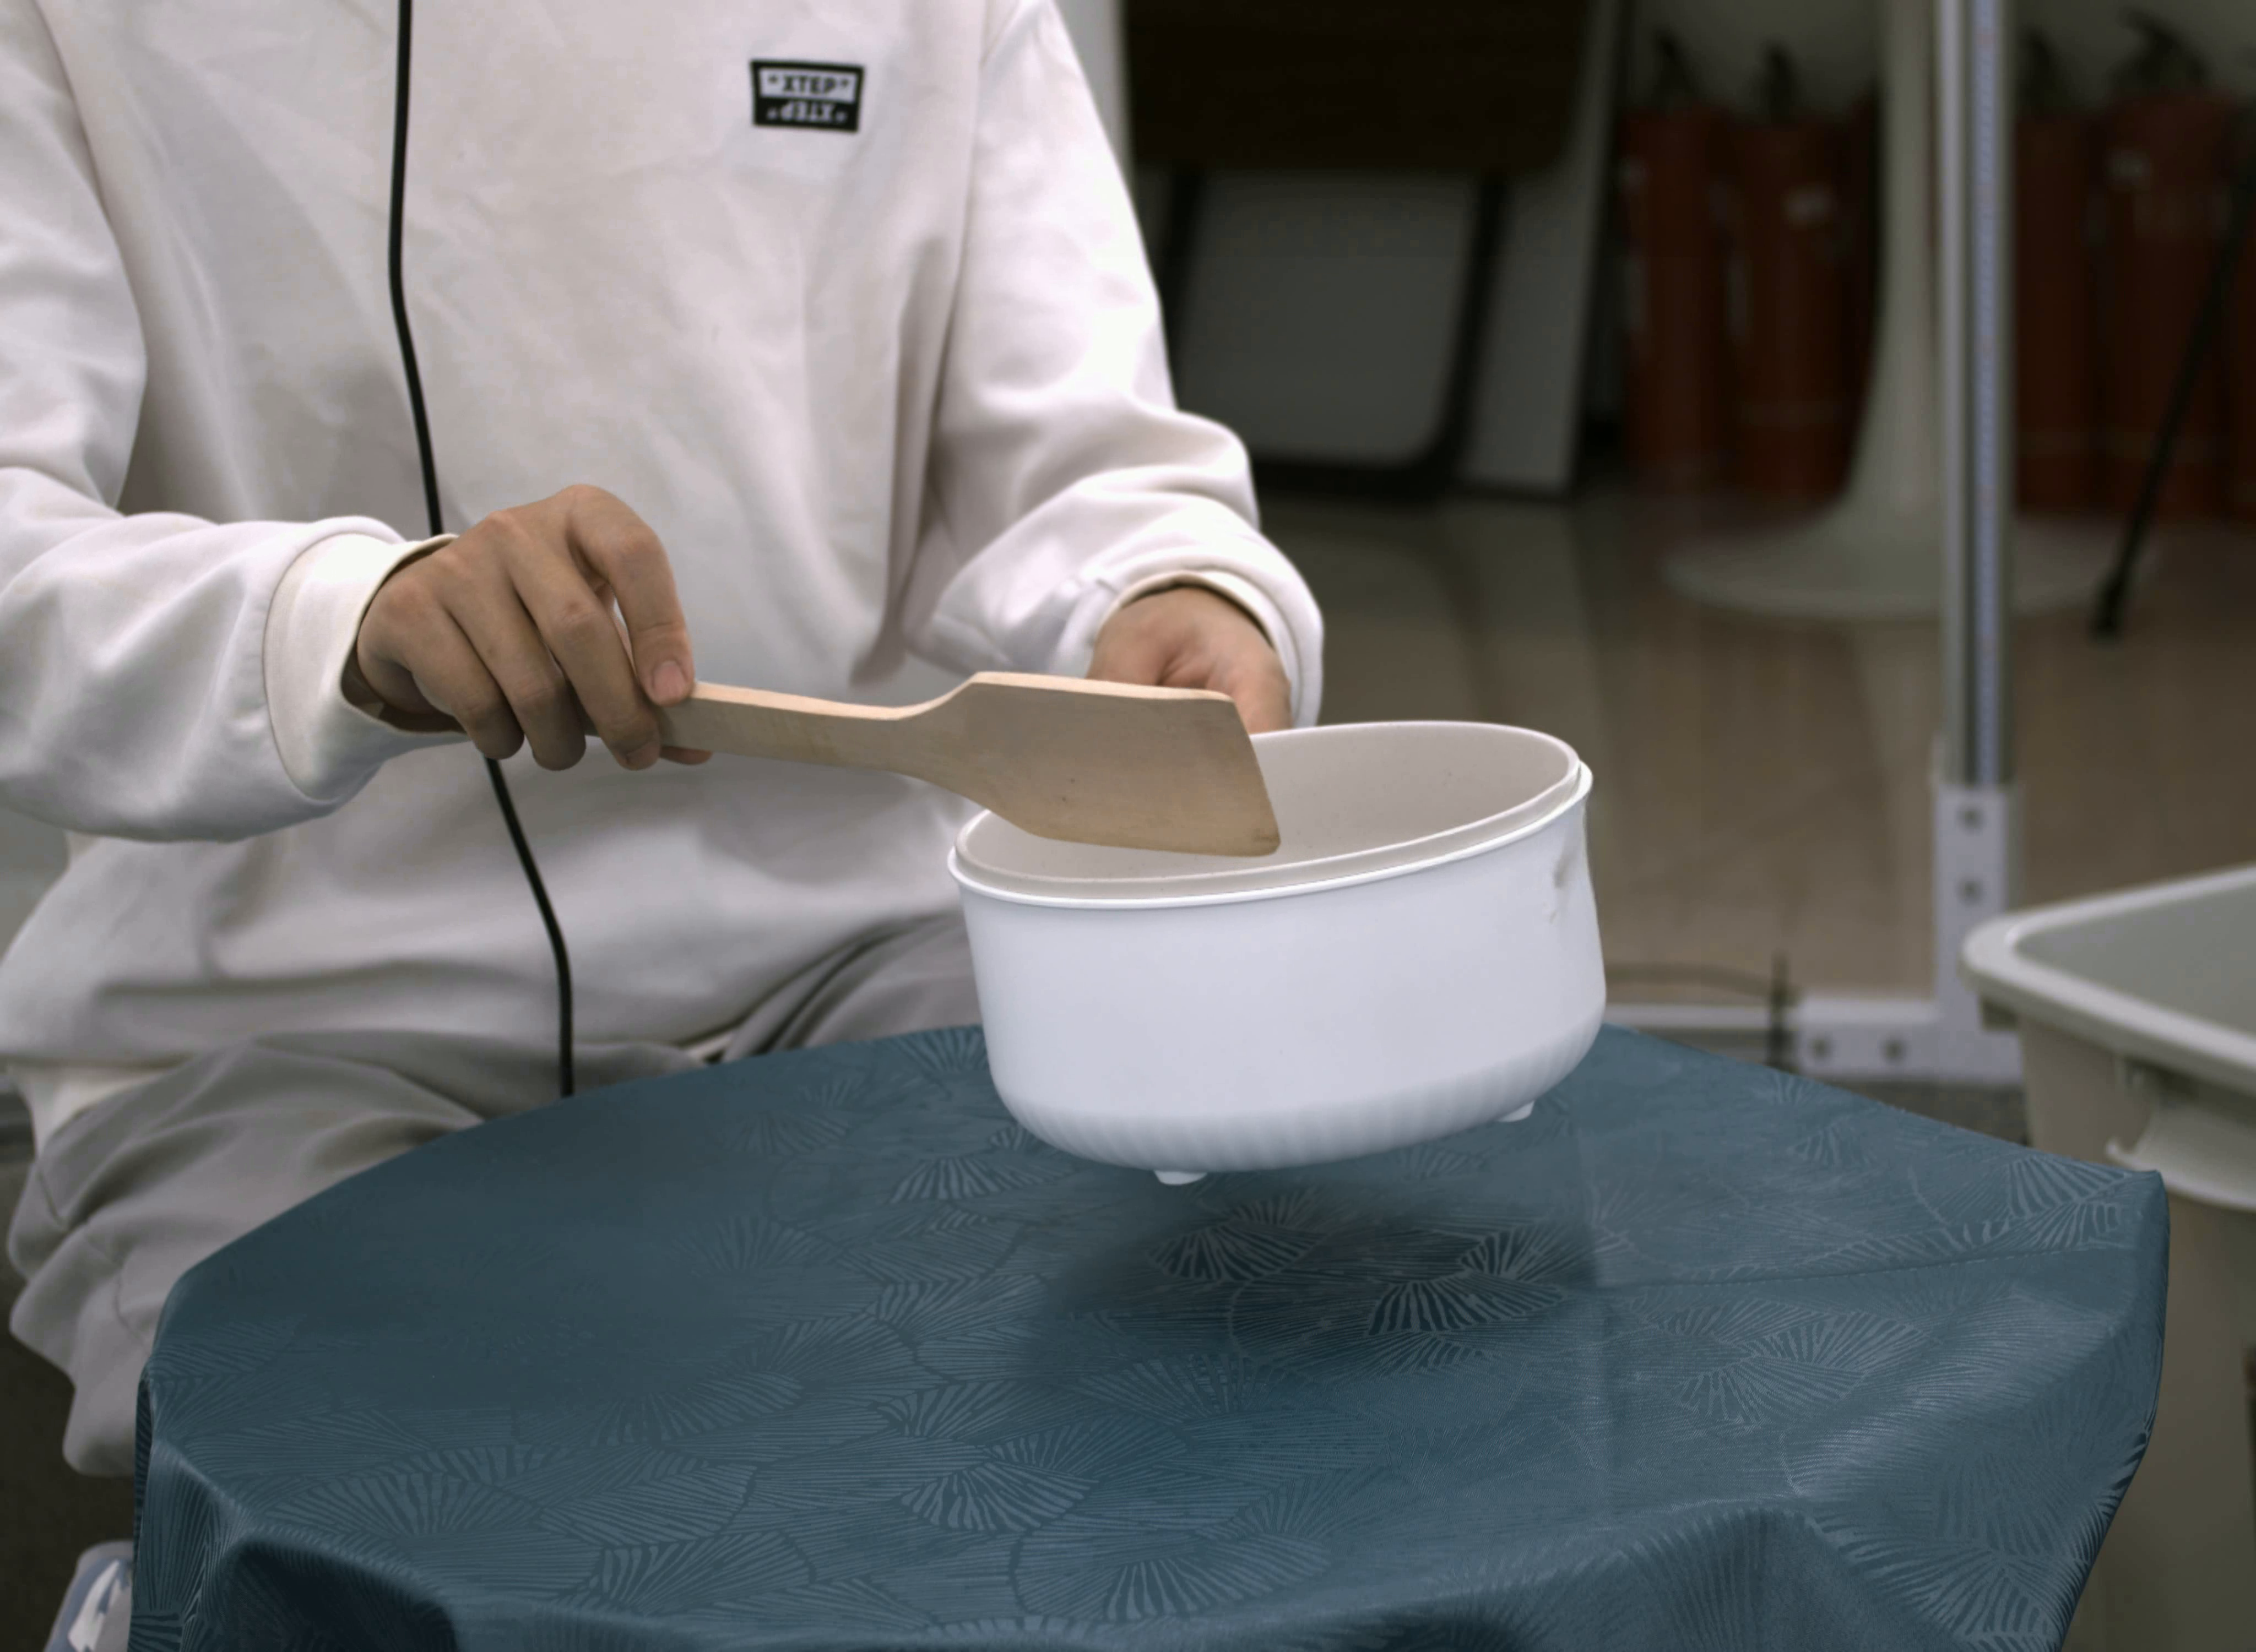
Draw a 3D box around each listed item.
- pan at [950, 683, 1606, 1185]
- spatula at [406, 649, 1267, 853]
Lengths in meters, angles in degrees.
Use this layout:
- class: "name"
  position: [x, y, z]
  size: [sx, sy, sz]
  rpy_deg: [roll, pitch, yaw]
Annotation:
- class: "pan"
  position: [0.035, 0.027, 1.737]
  size: [0.198, 0.103, 0.357]
  rpy_deg: [-11, 11, -8]
- class: "spatula"
  position: [-0.096, -0.031, 1.645]
  size: [0.293, 0.072, 0.010]
  rpy_deg: [7, 49, 26]
